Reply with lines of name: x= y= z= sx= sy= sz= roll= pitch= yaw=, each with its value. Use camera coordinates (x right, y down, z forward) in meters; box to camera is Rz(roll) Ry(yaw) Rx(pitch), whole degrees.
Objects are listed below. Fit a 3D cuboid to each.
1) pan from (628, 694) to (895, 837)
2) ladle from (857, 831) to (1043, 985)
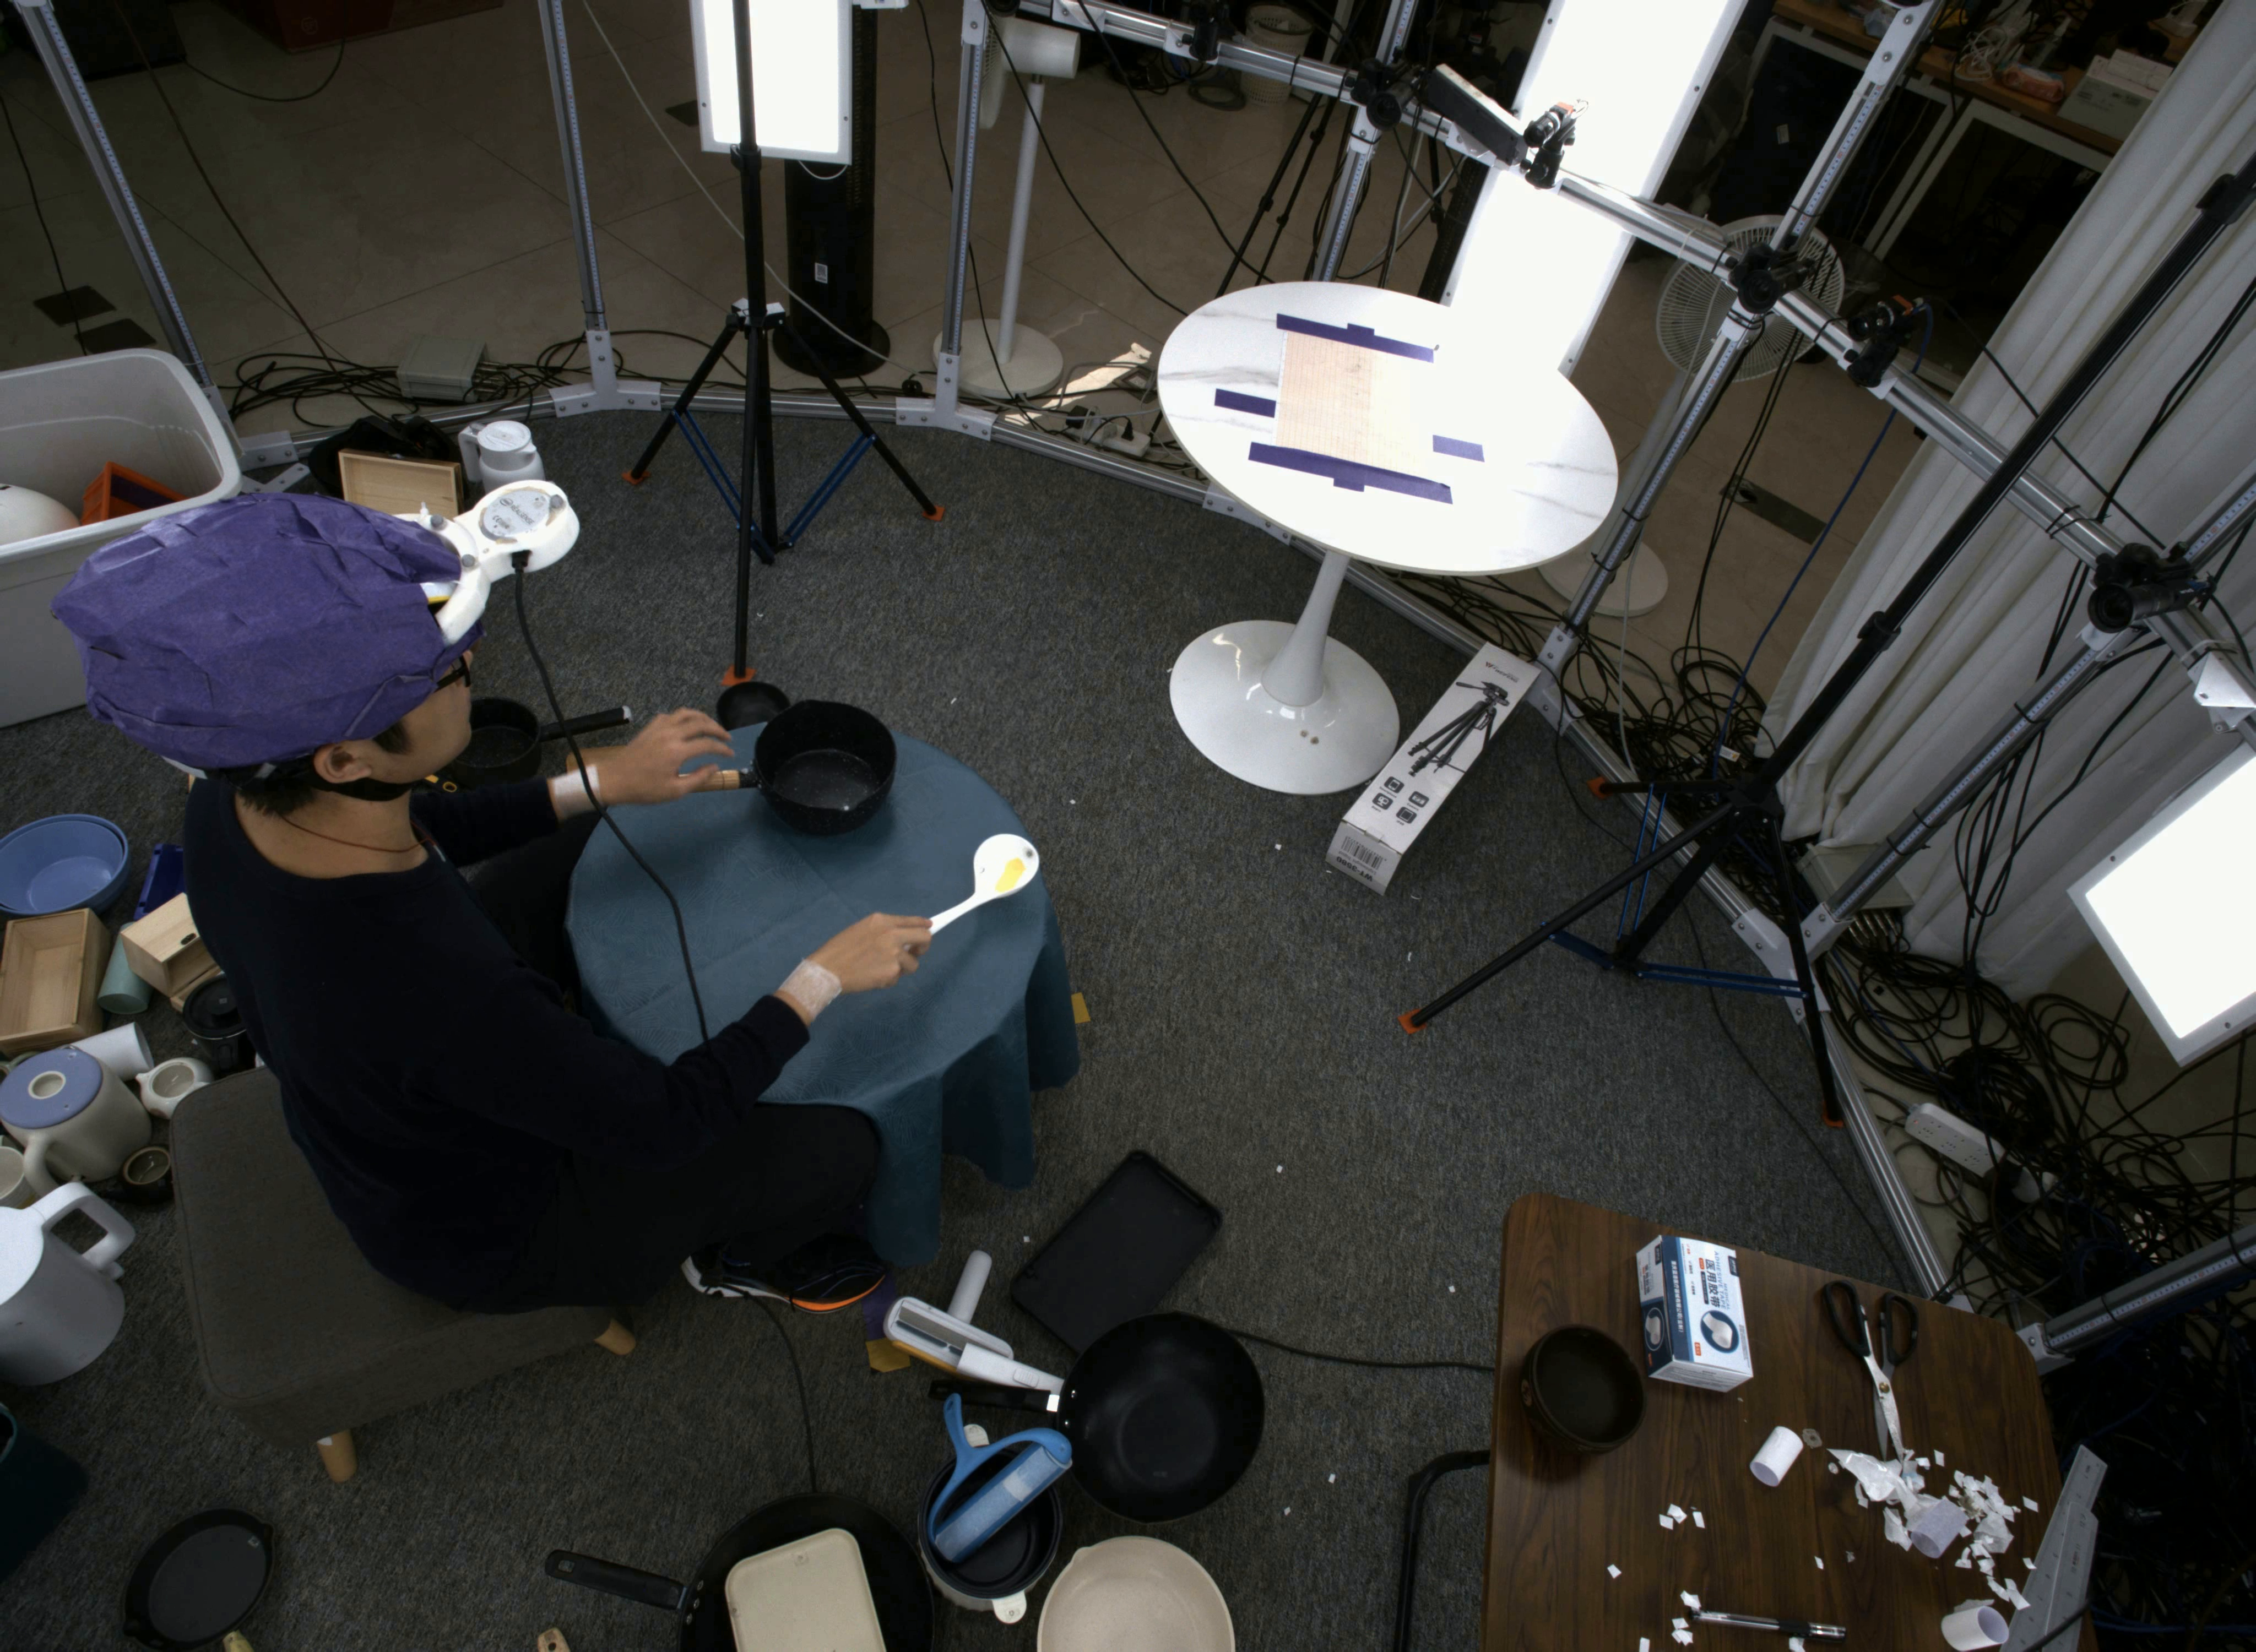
pan: x=-0.471 y=-0.060 z=1.676 sx=0.345 sy=0.110 sz=0.202 roll=-15 pitch=59 yaw=-26
ladle: x=-0.216 y=0.097 z=1.583 sx=0.088 sy=0.071 sz=0.294 roll=34 pitch=38 yaw=18
